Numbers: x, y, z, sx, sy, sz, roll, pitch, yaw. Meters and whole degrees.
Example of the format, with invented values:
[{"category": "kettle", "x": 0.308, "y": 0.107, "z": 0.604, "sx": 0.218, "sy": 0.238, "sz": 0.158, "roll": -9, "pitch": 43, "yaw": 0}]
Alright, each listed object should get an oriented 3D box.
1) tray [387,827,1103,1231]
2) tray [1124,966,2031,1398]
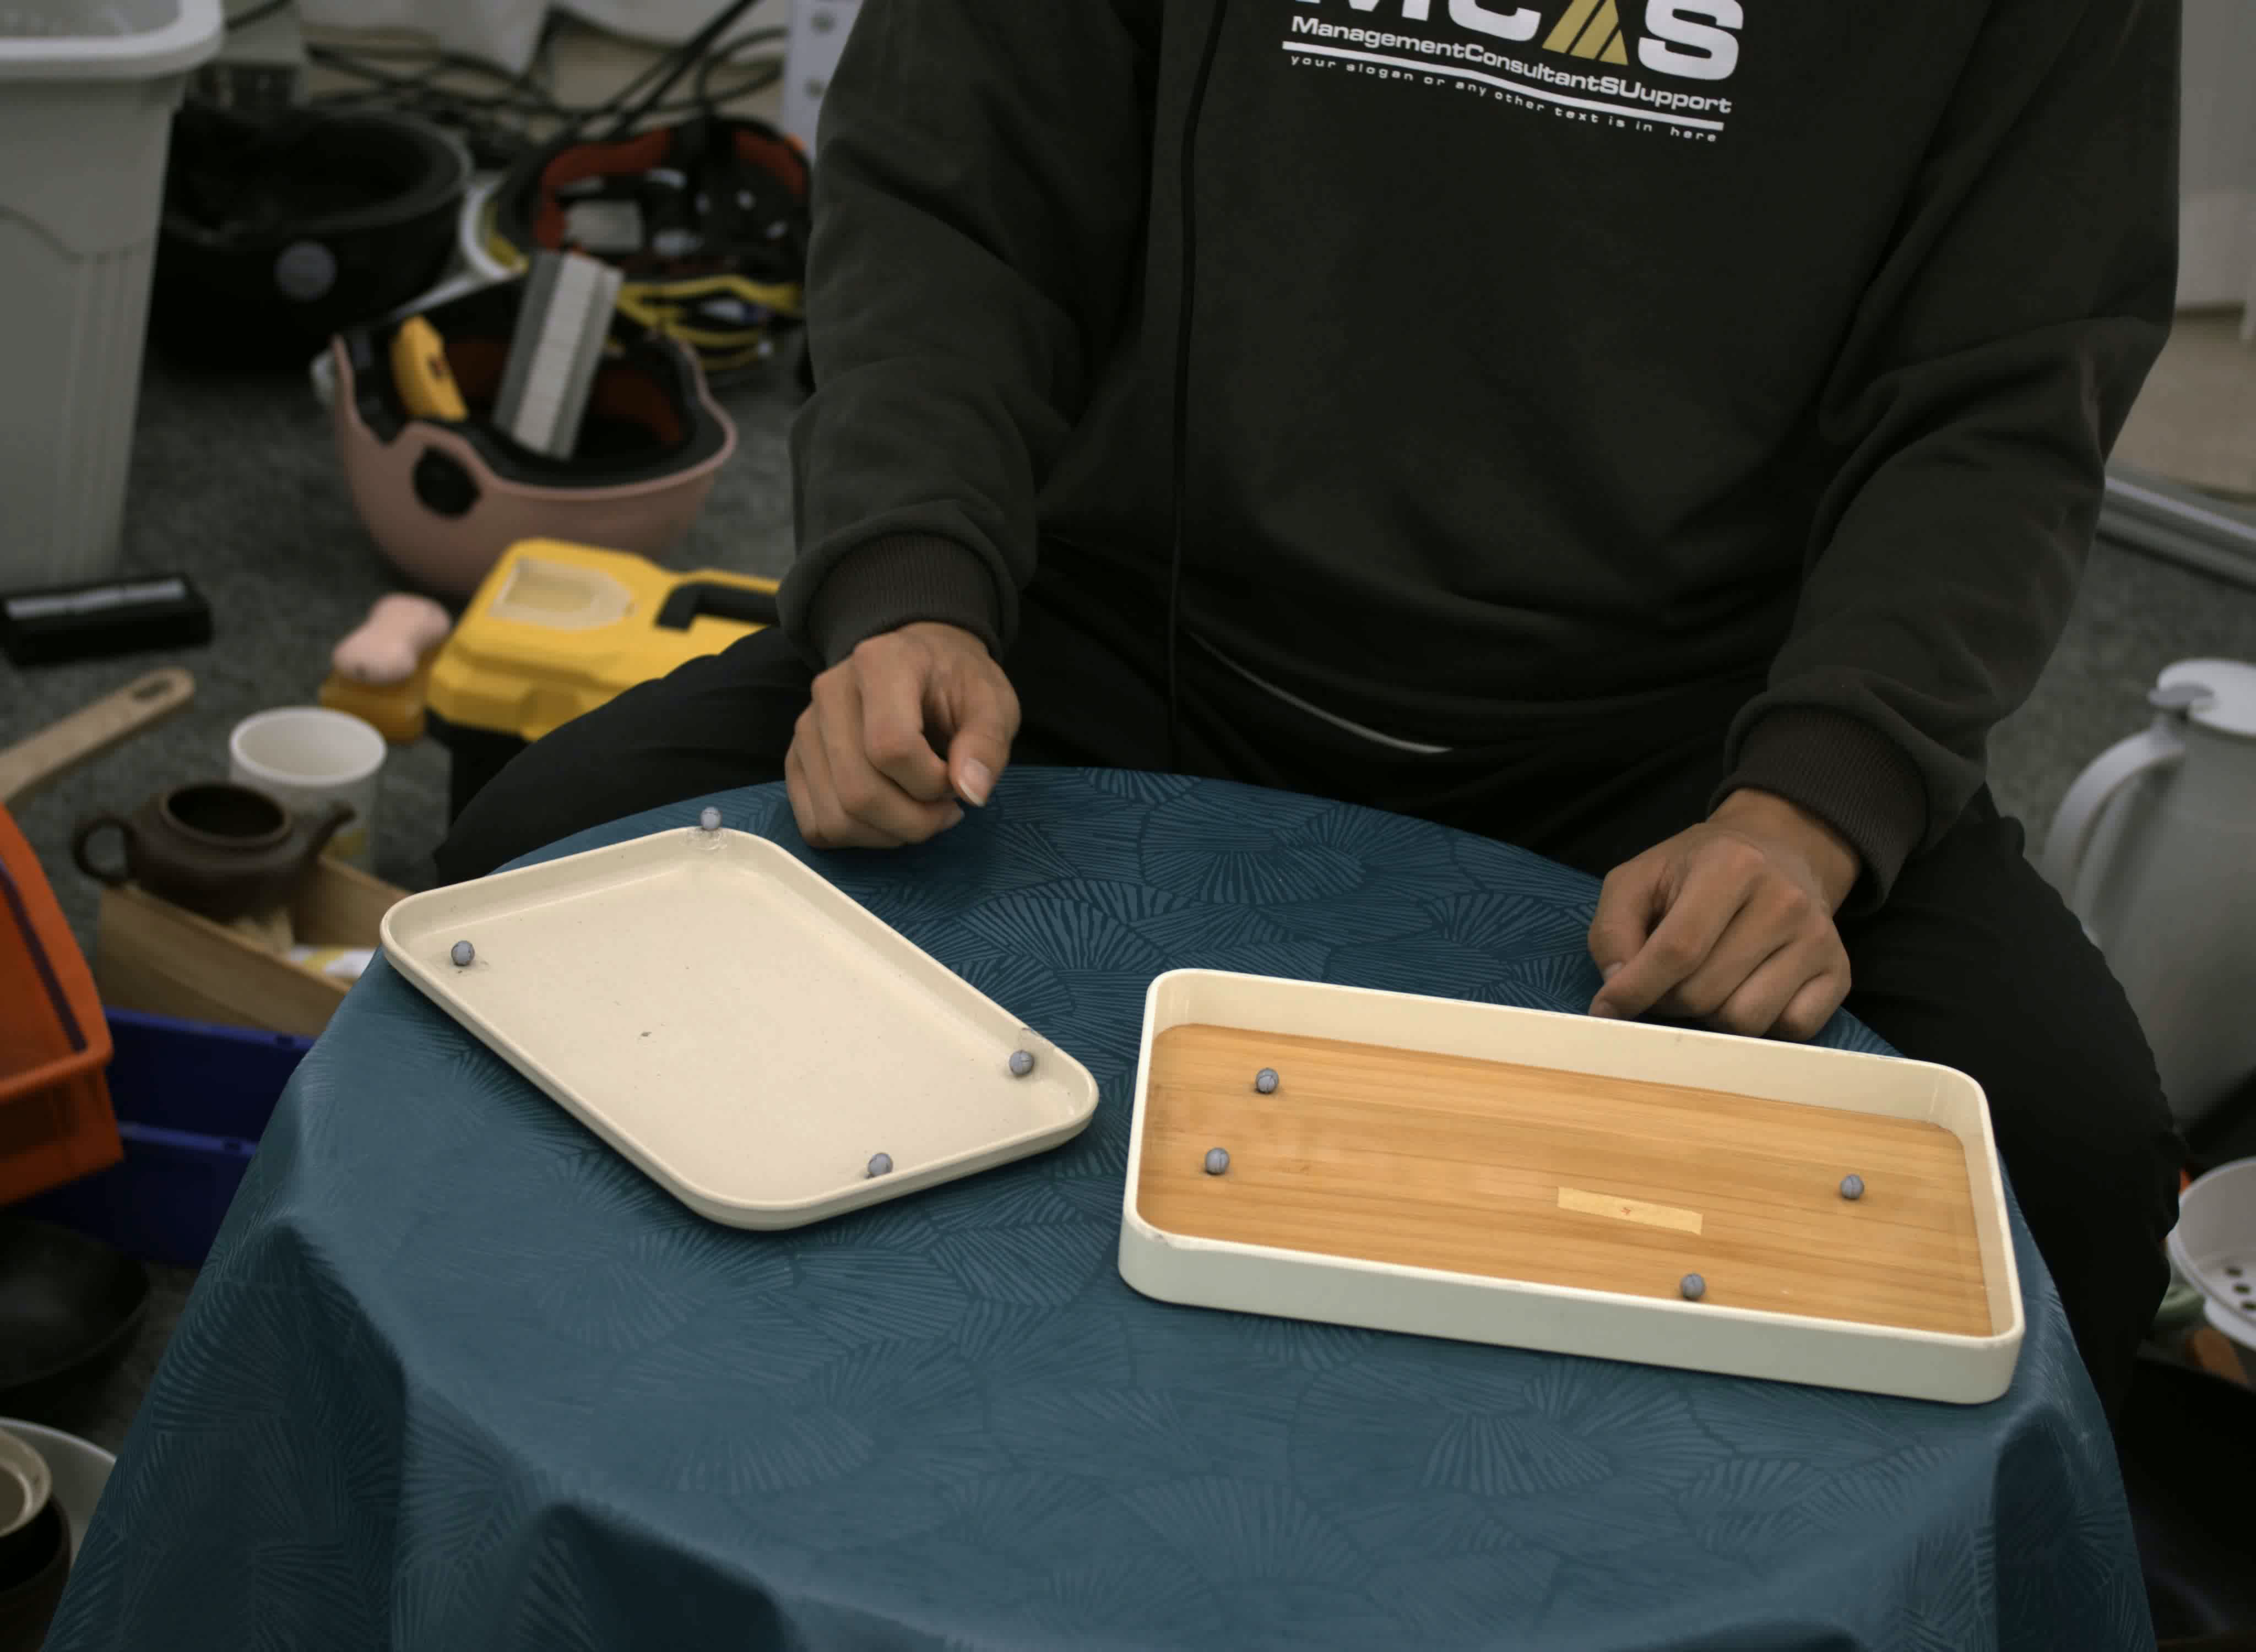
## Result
[{"category": "tray", "x": -0.136, "y": 0.069, "z": 1.862, "sx": 0.170, "sy": 0.017, "sz": 0.242, "roll": -15, "pitch": 34, "yaw": -36}, {"category": "tray", "x": 0.151, "y": 0.120, "z": 1.821, "sx": 0.299, "sy": 0.027, "sz": 0.192, "roll": 7, "pitch": 26, "yaw": 0}]
